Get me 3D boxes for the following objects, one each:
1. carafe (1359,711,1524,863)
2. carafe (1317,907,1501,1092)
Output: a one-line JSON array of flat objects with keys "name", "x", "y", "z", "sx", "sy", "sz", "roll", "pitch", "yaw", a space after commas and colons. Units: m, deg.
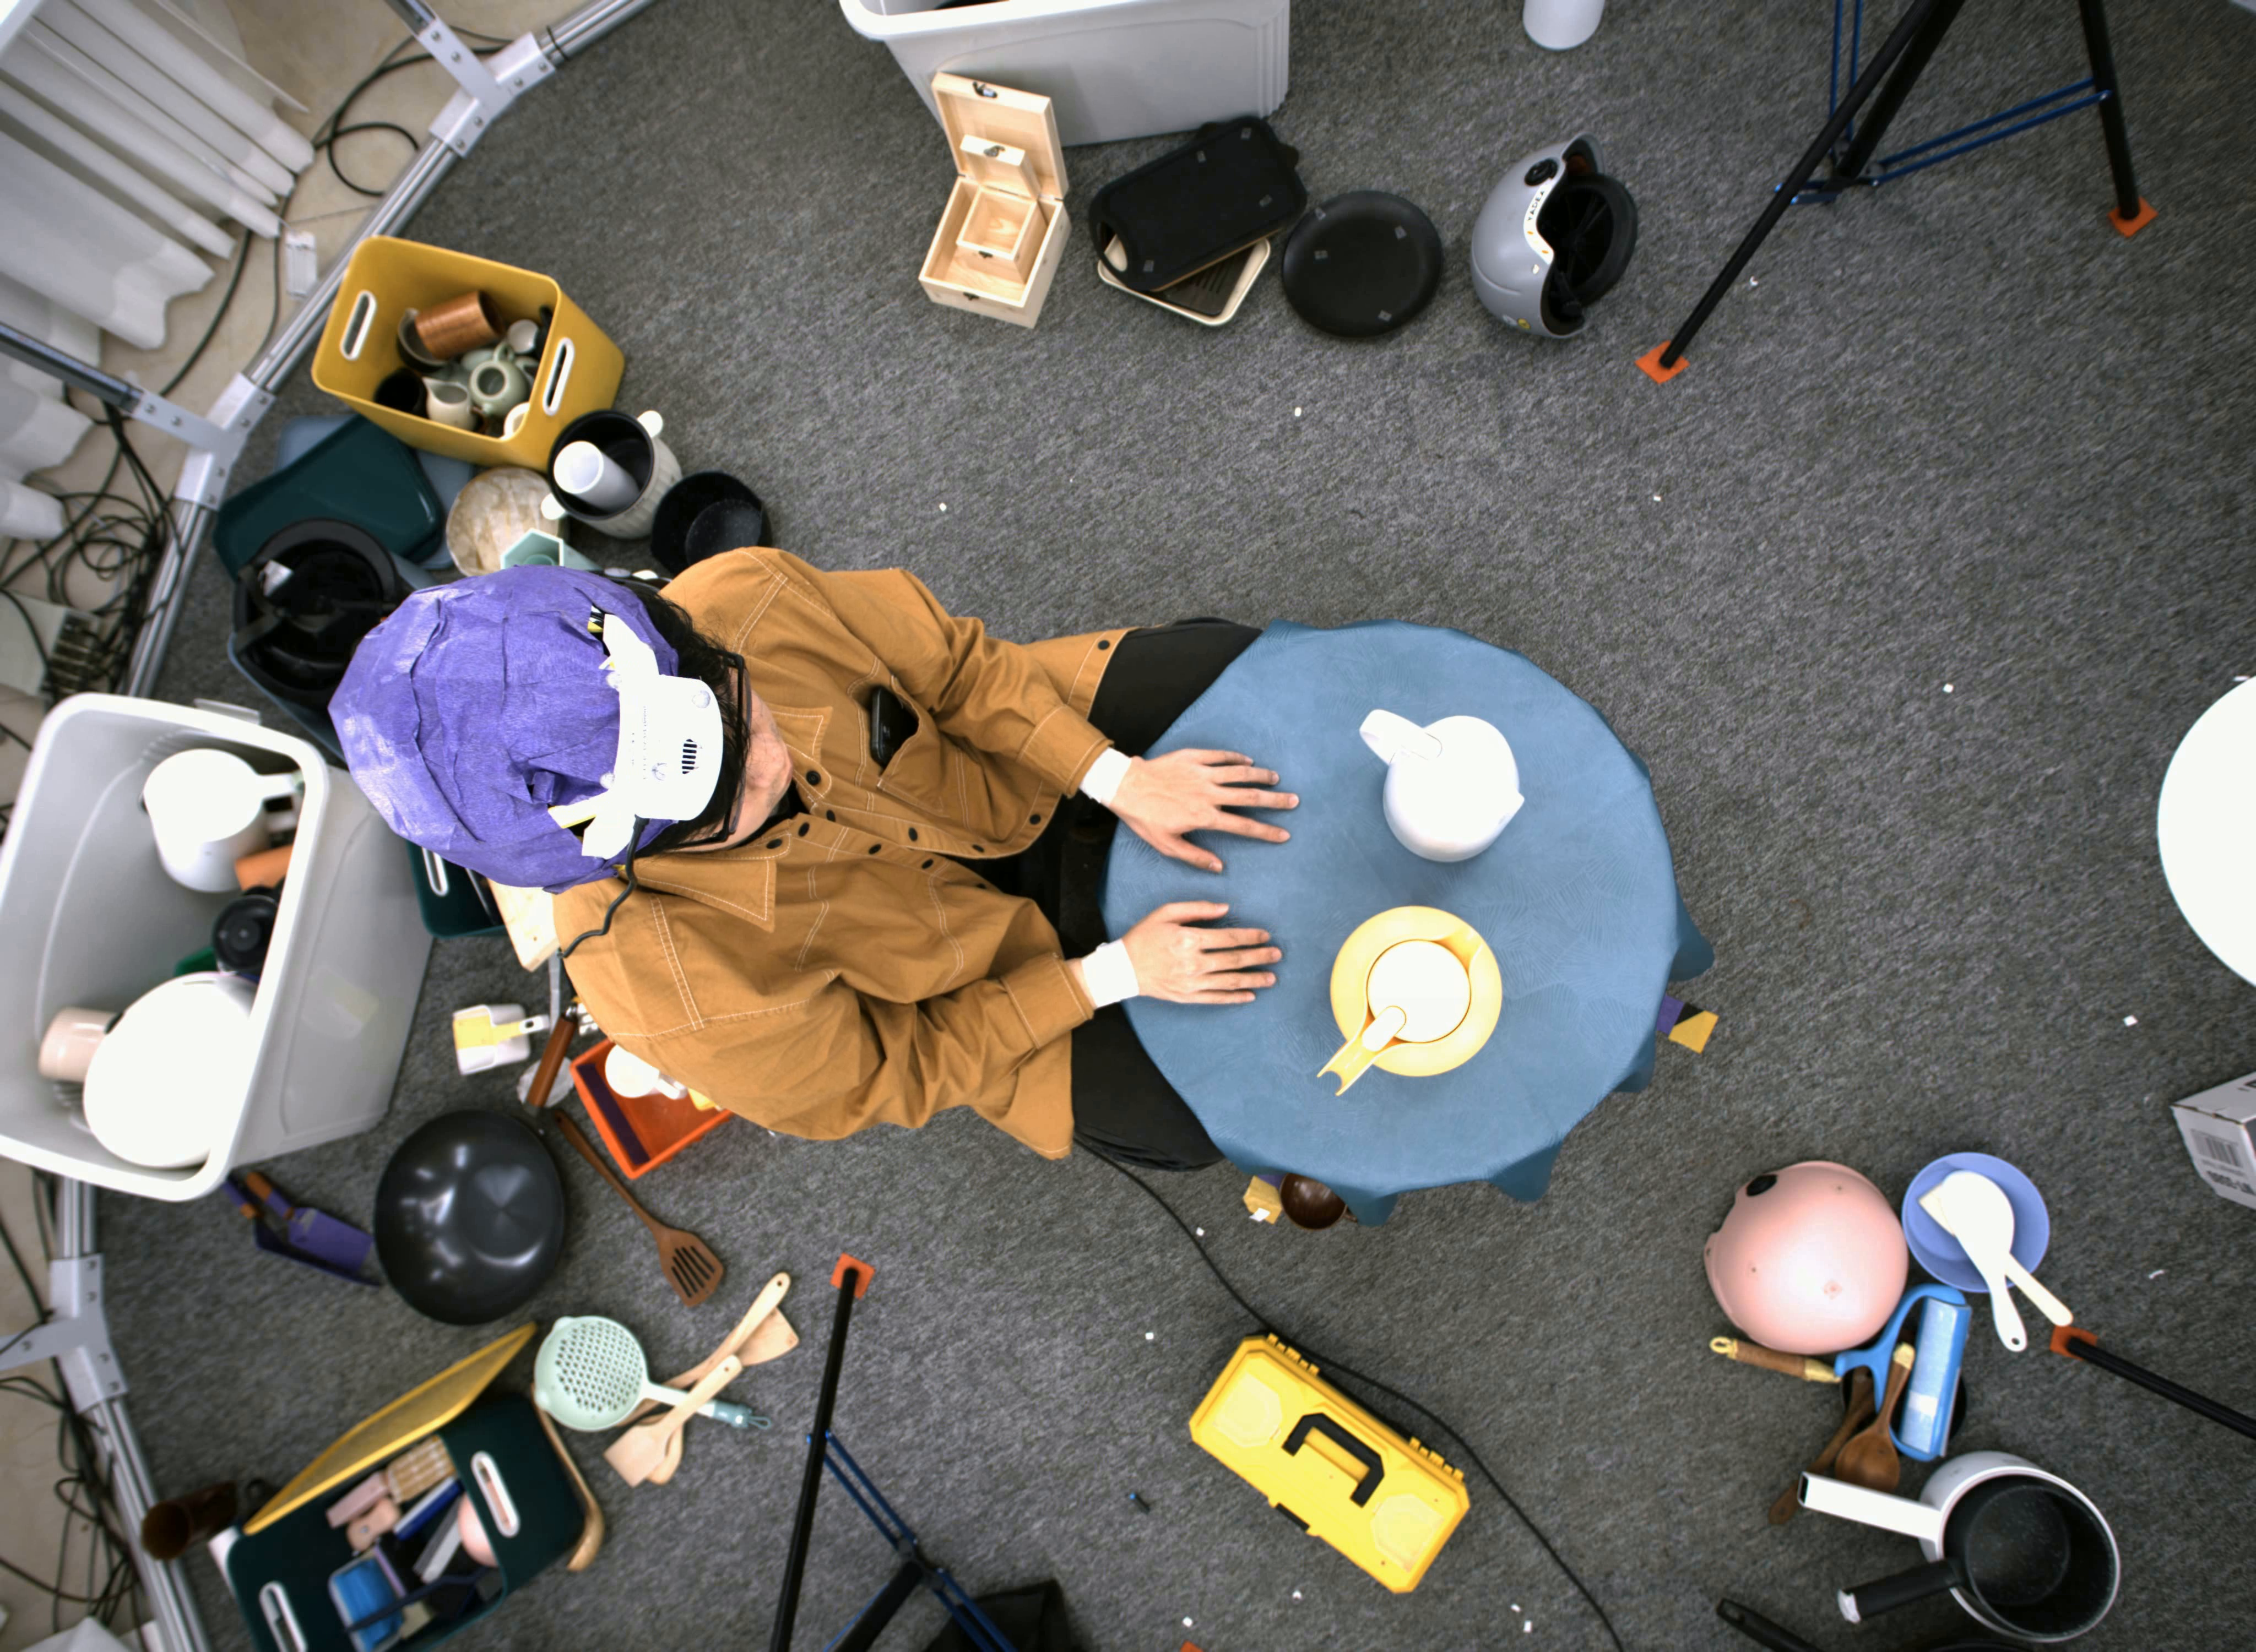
[{"name": "carafe", "x": 0.299, "y": -0.051, "z": 1.336, "sx": 0.167, "sy": 0.249, "sz": 0.133, "roll": 34, "pitch": 92, "yaw": 12}, {"name": "carafe", "x": 0.260, "y": 0.170, "z": 1.327, "sx": 0.203, "sy": 0.261, "sz": 0.162, "roll": -45, "pitch": 77, "yaw": 3}]
